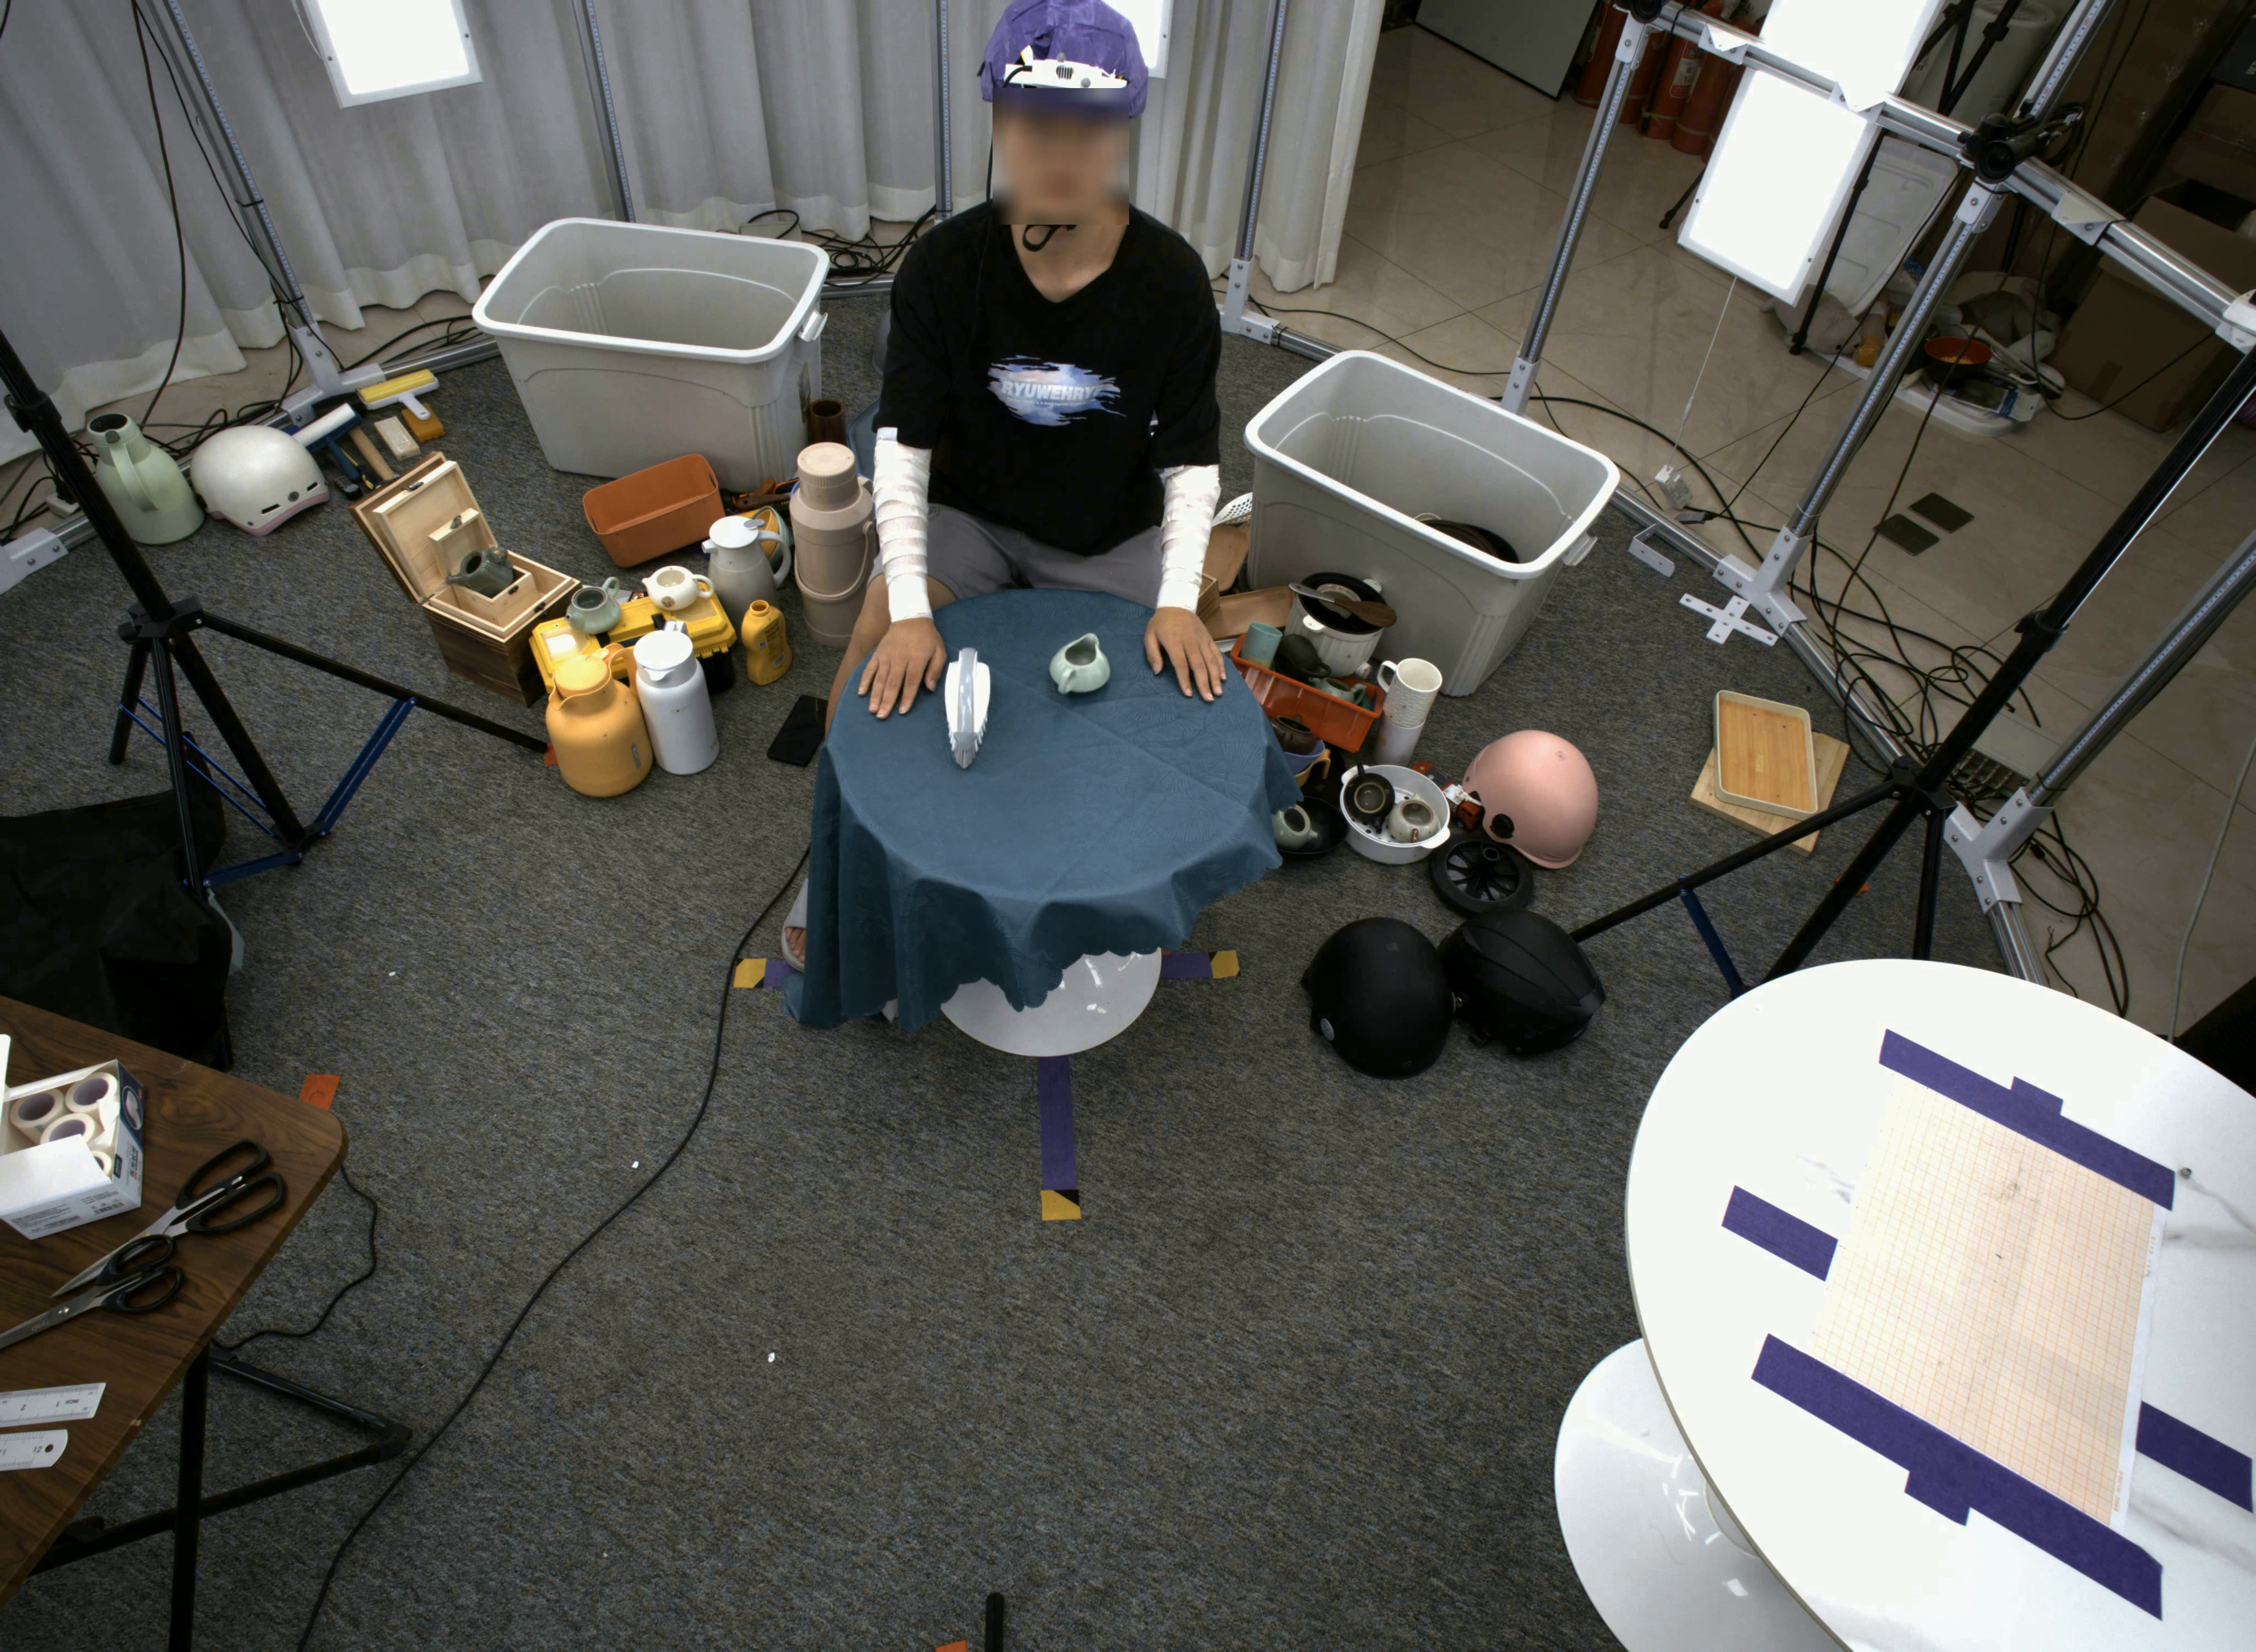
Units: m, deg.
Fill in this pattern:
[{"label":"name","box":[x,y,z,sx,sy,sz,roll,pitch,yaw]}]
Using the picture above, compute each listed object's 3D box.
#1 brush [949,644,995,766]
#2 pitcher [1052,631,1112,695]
[{"label":"brush","box":[-0.215,-0.174,1.751,0.061,0.092,0.180,-1,51,-1]},{"label":"pitcher","box":[-0.069,-0.223,1.825,0.086,0.059,0.110,17,53,11]}]
